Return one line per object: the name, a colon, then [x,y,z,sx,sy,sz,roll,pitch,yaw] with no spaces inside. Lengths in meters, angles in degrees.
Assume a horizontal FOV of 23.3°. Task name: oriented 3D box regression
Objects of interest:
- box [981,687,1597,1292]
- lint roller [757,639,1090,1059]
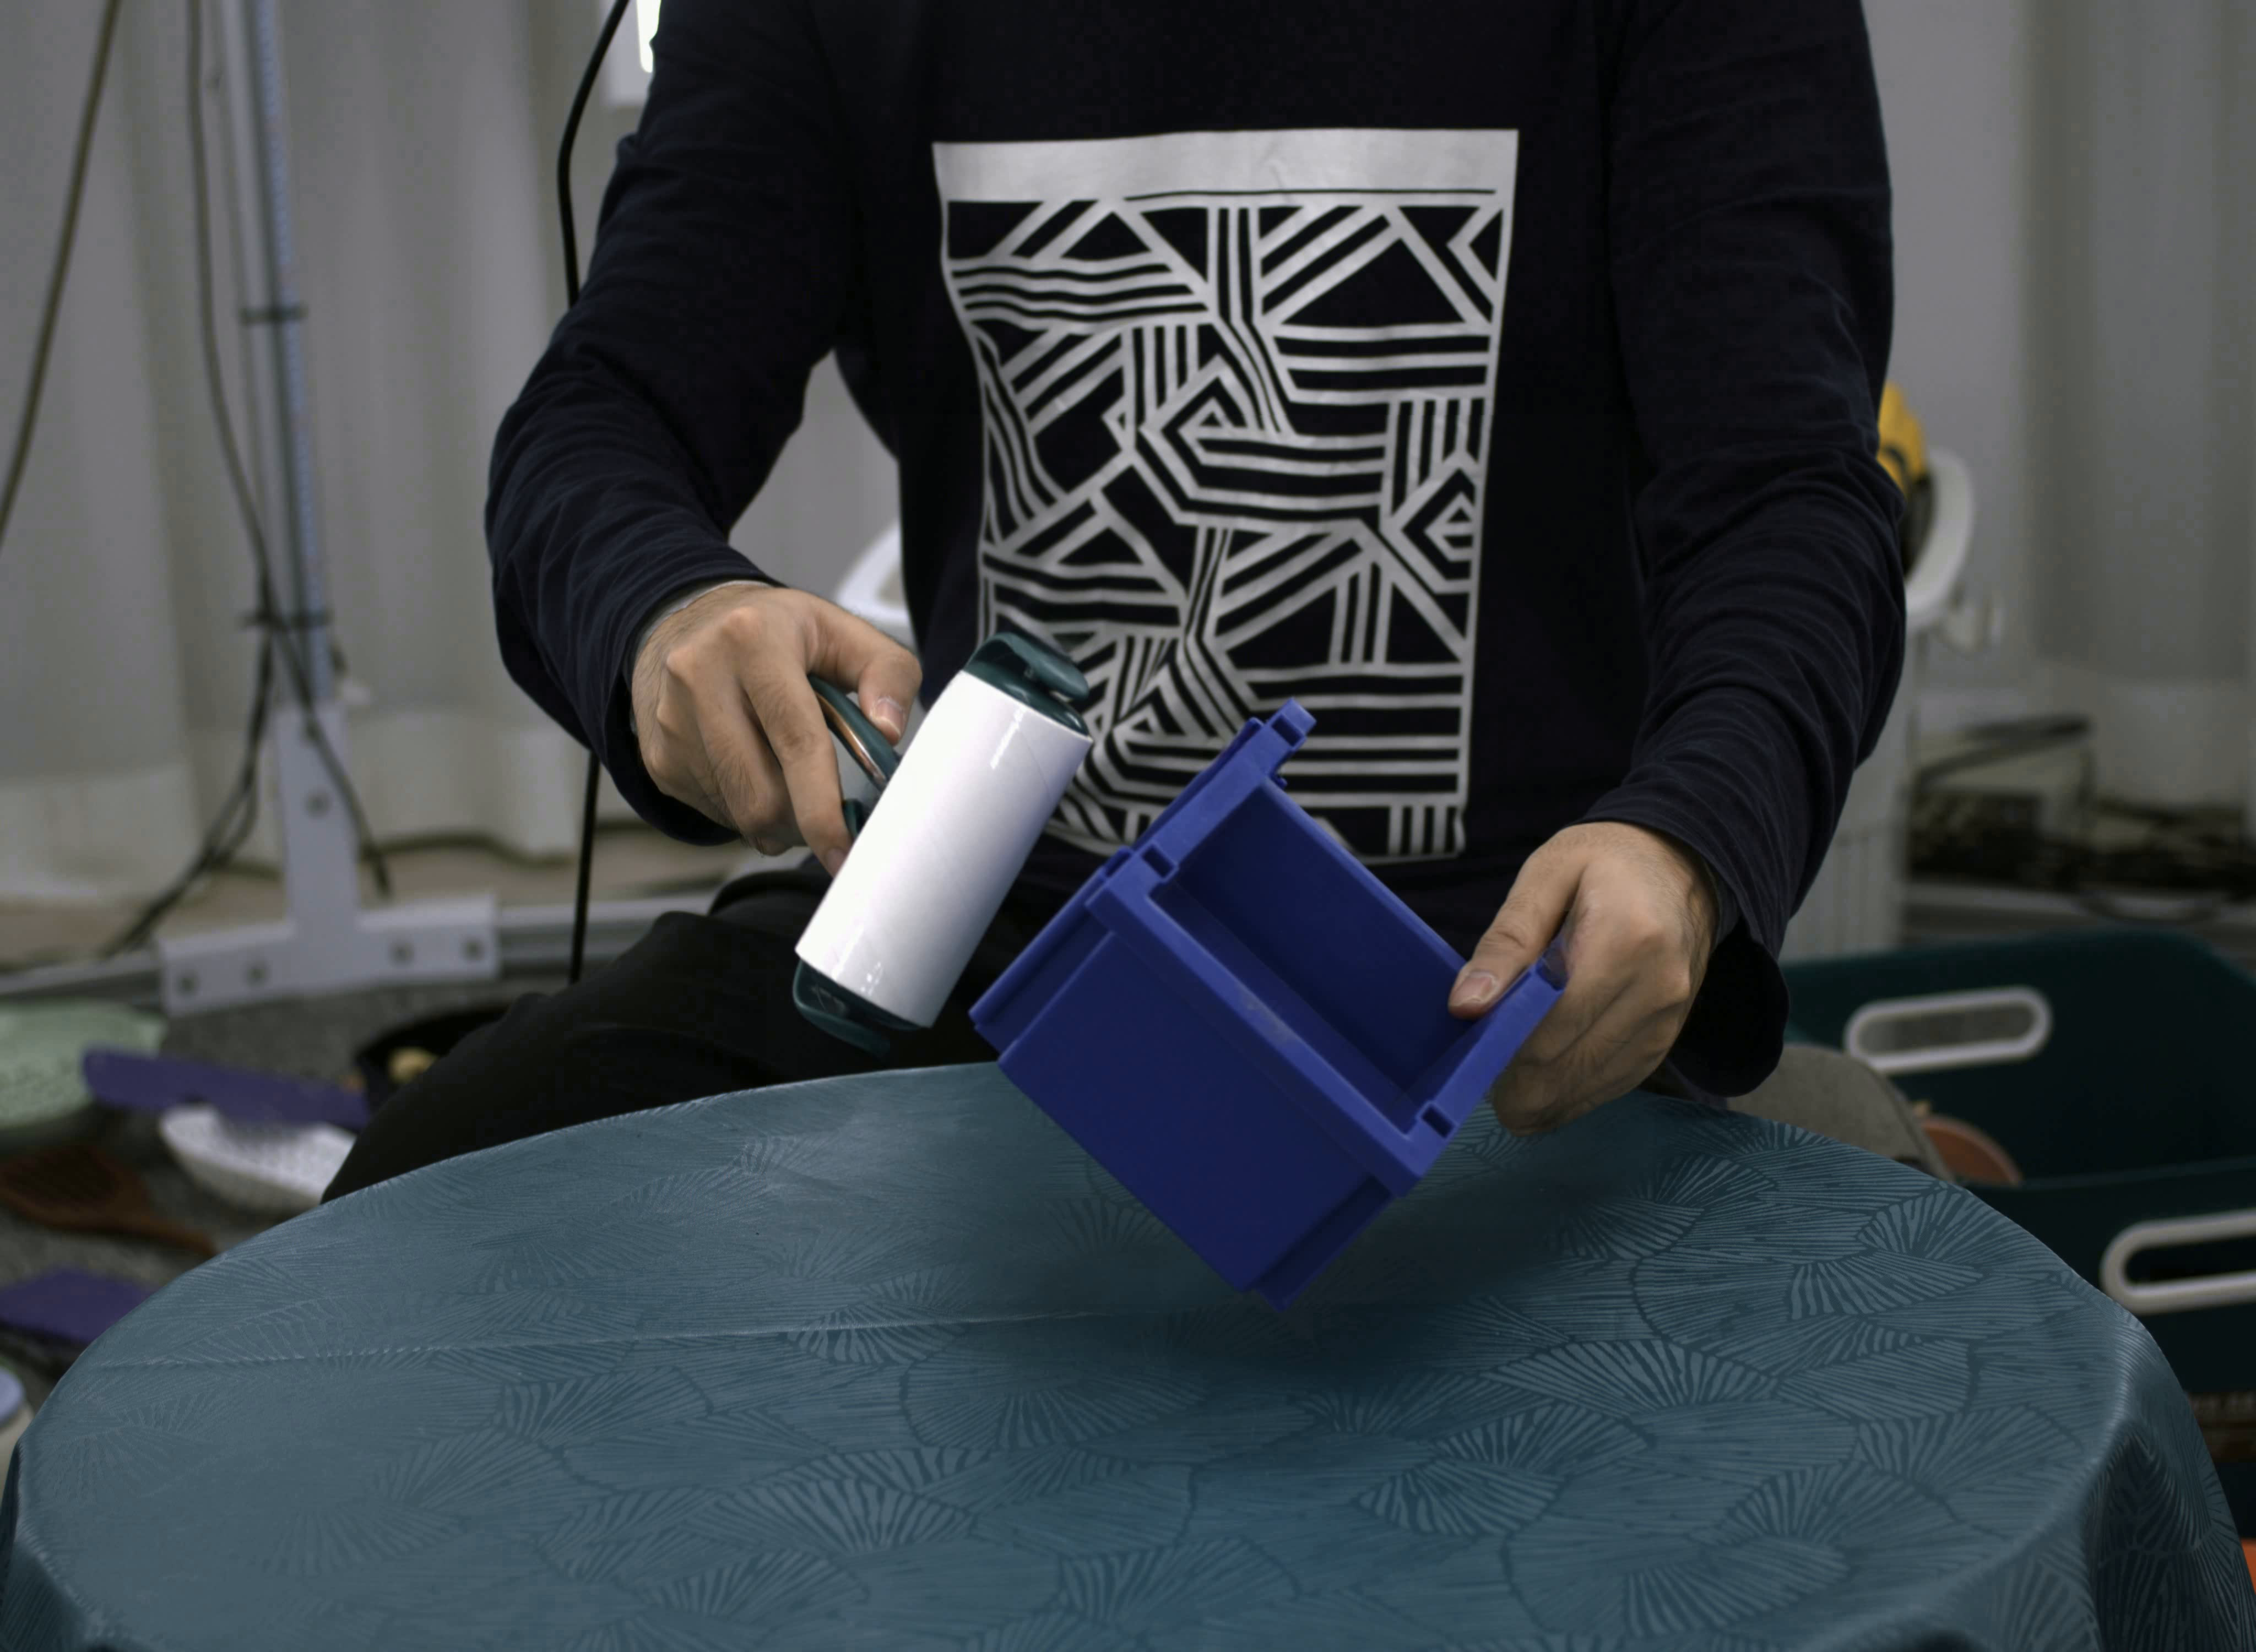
box: [0.050,0.043,1.606,0.125,0.081,0.180,43,34,4]
lint roller: [-0.087,-0.014,1.687,0.048,0.134,0.182,28,3,-35]
